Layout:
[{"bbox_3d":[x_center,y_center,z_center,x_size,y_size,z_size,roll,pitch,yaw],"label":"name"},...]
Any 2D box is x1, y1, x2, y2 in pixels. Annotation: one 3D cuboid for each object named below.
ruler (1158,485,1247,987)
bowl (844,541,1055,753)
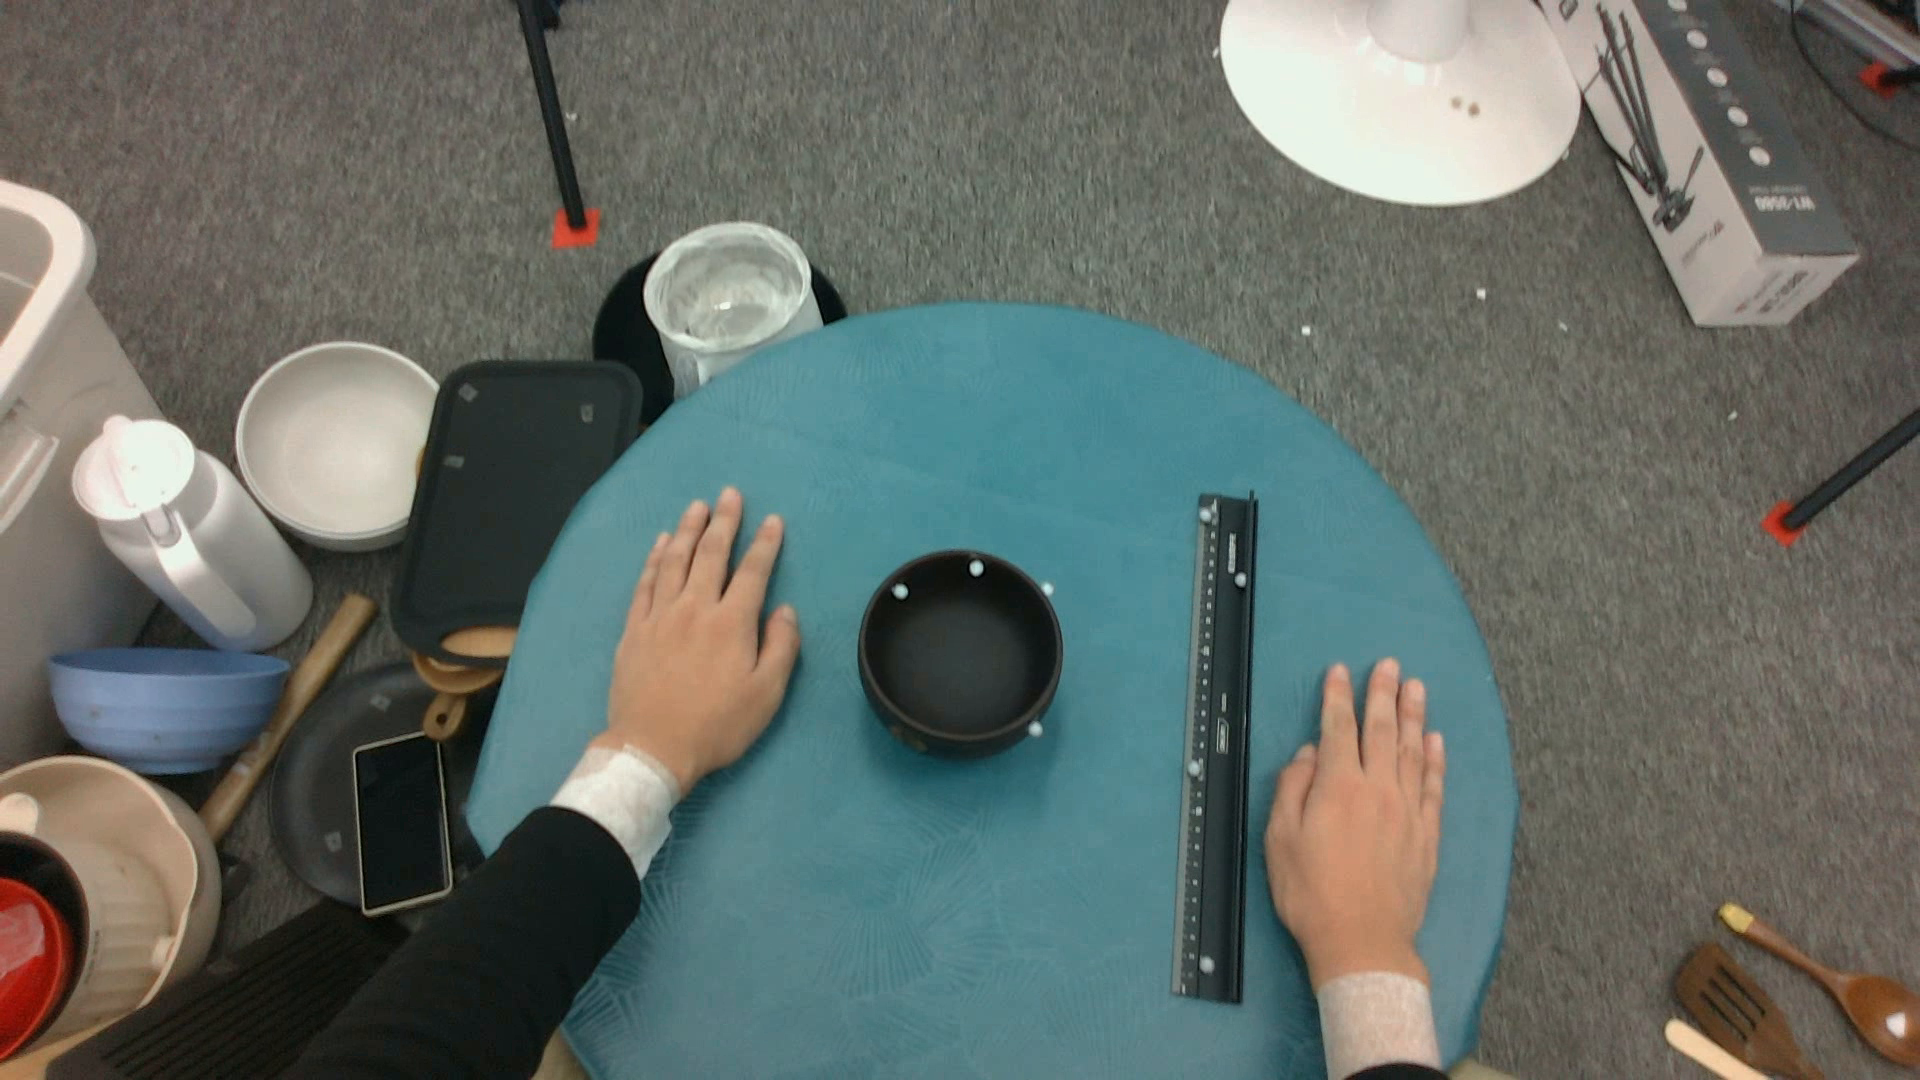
[{"bbox_3d":[0.148,0.101,0.816,0.039,0.017,0.314,7,62,4],"label":"ruler"},{"bbox_3d":[-0.007,0.067,0.788,0.118,0.069,0.118,2,61,-3],"label":"bowl"}]
